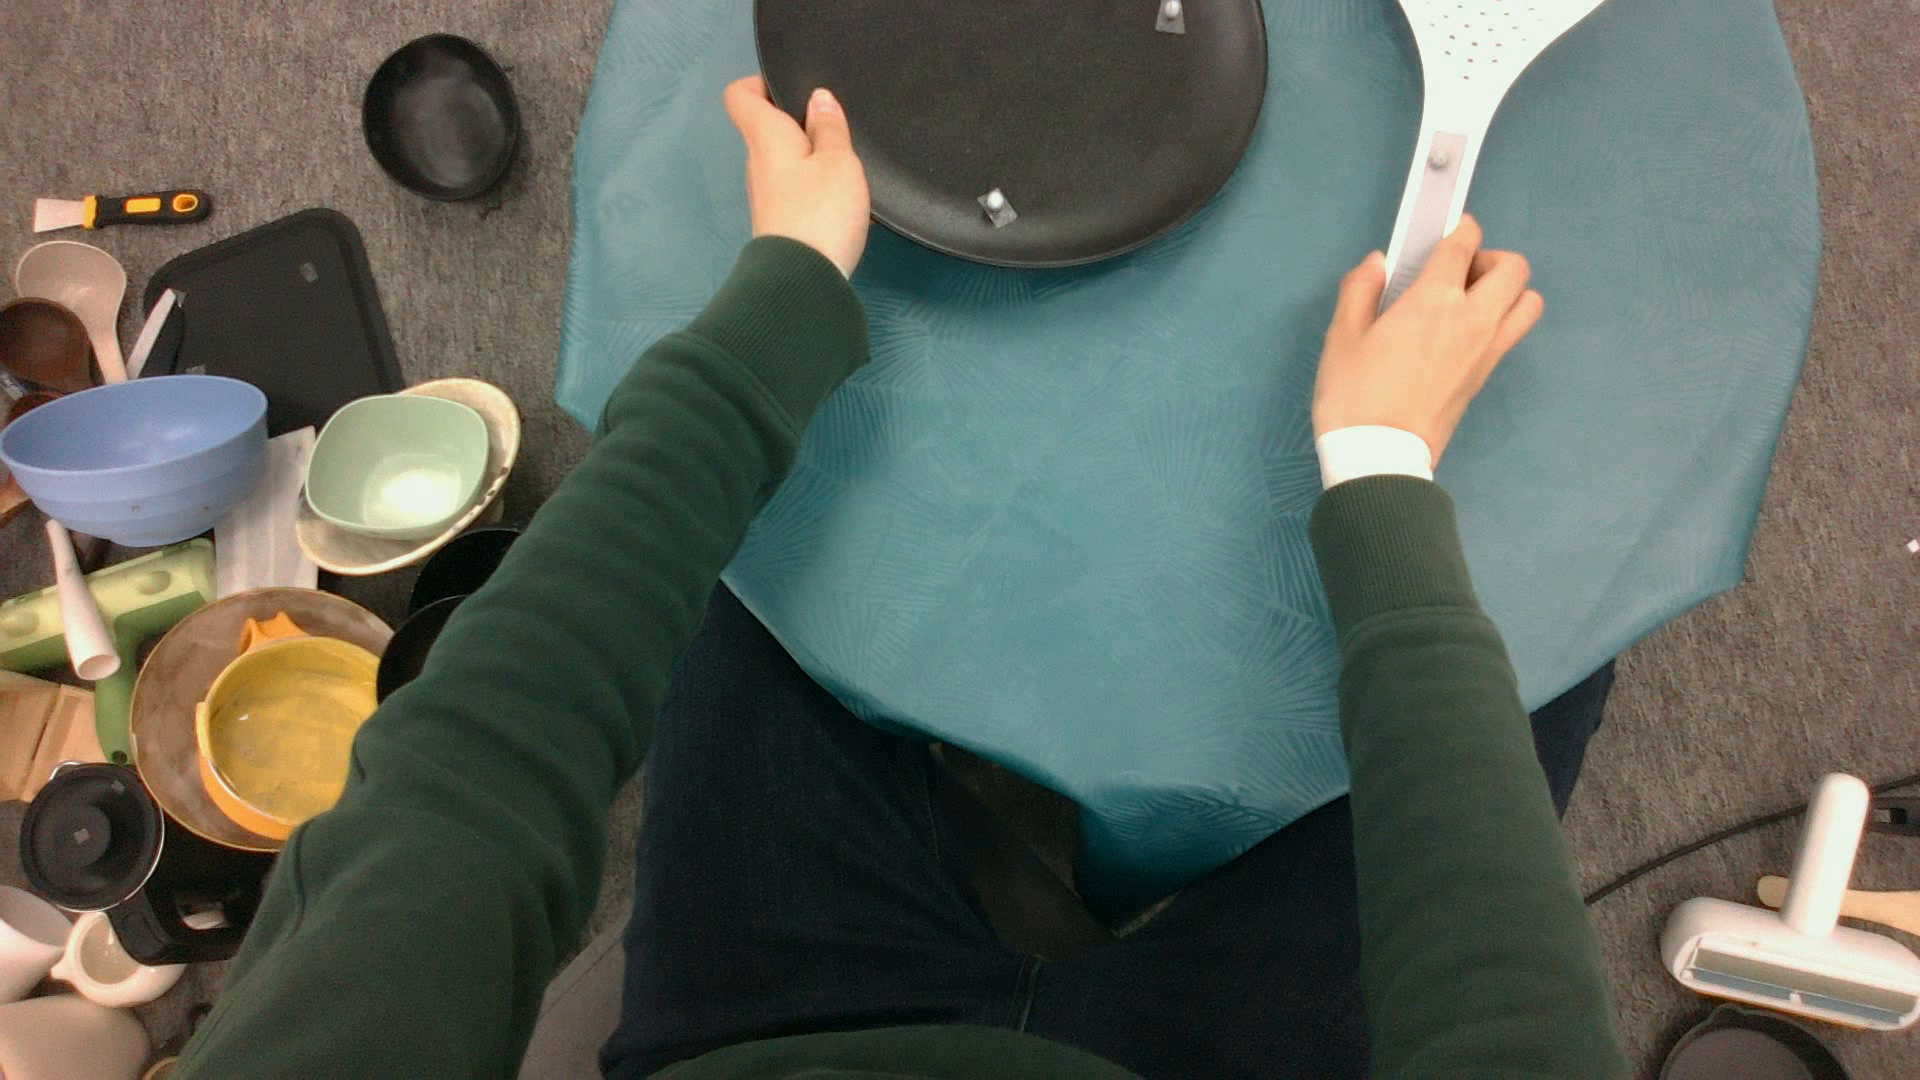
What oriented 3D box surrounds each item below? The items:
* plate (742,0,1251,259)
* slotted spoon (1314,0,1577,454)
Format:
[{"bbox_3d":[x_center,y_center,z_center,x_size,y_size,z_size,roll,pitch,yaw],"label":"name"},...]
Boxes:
[{"bbox_3d":[0.019,-0.243,0.657,0.244,0.023,0.245,2,76,-8],"label":"plate"},{"bbox_3d":[0.225,-0.207,0.645,0.136,0.045,0.350,15,78,13],"label":"slotted spoon"}]
